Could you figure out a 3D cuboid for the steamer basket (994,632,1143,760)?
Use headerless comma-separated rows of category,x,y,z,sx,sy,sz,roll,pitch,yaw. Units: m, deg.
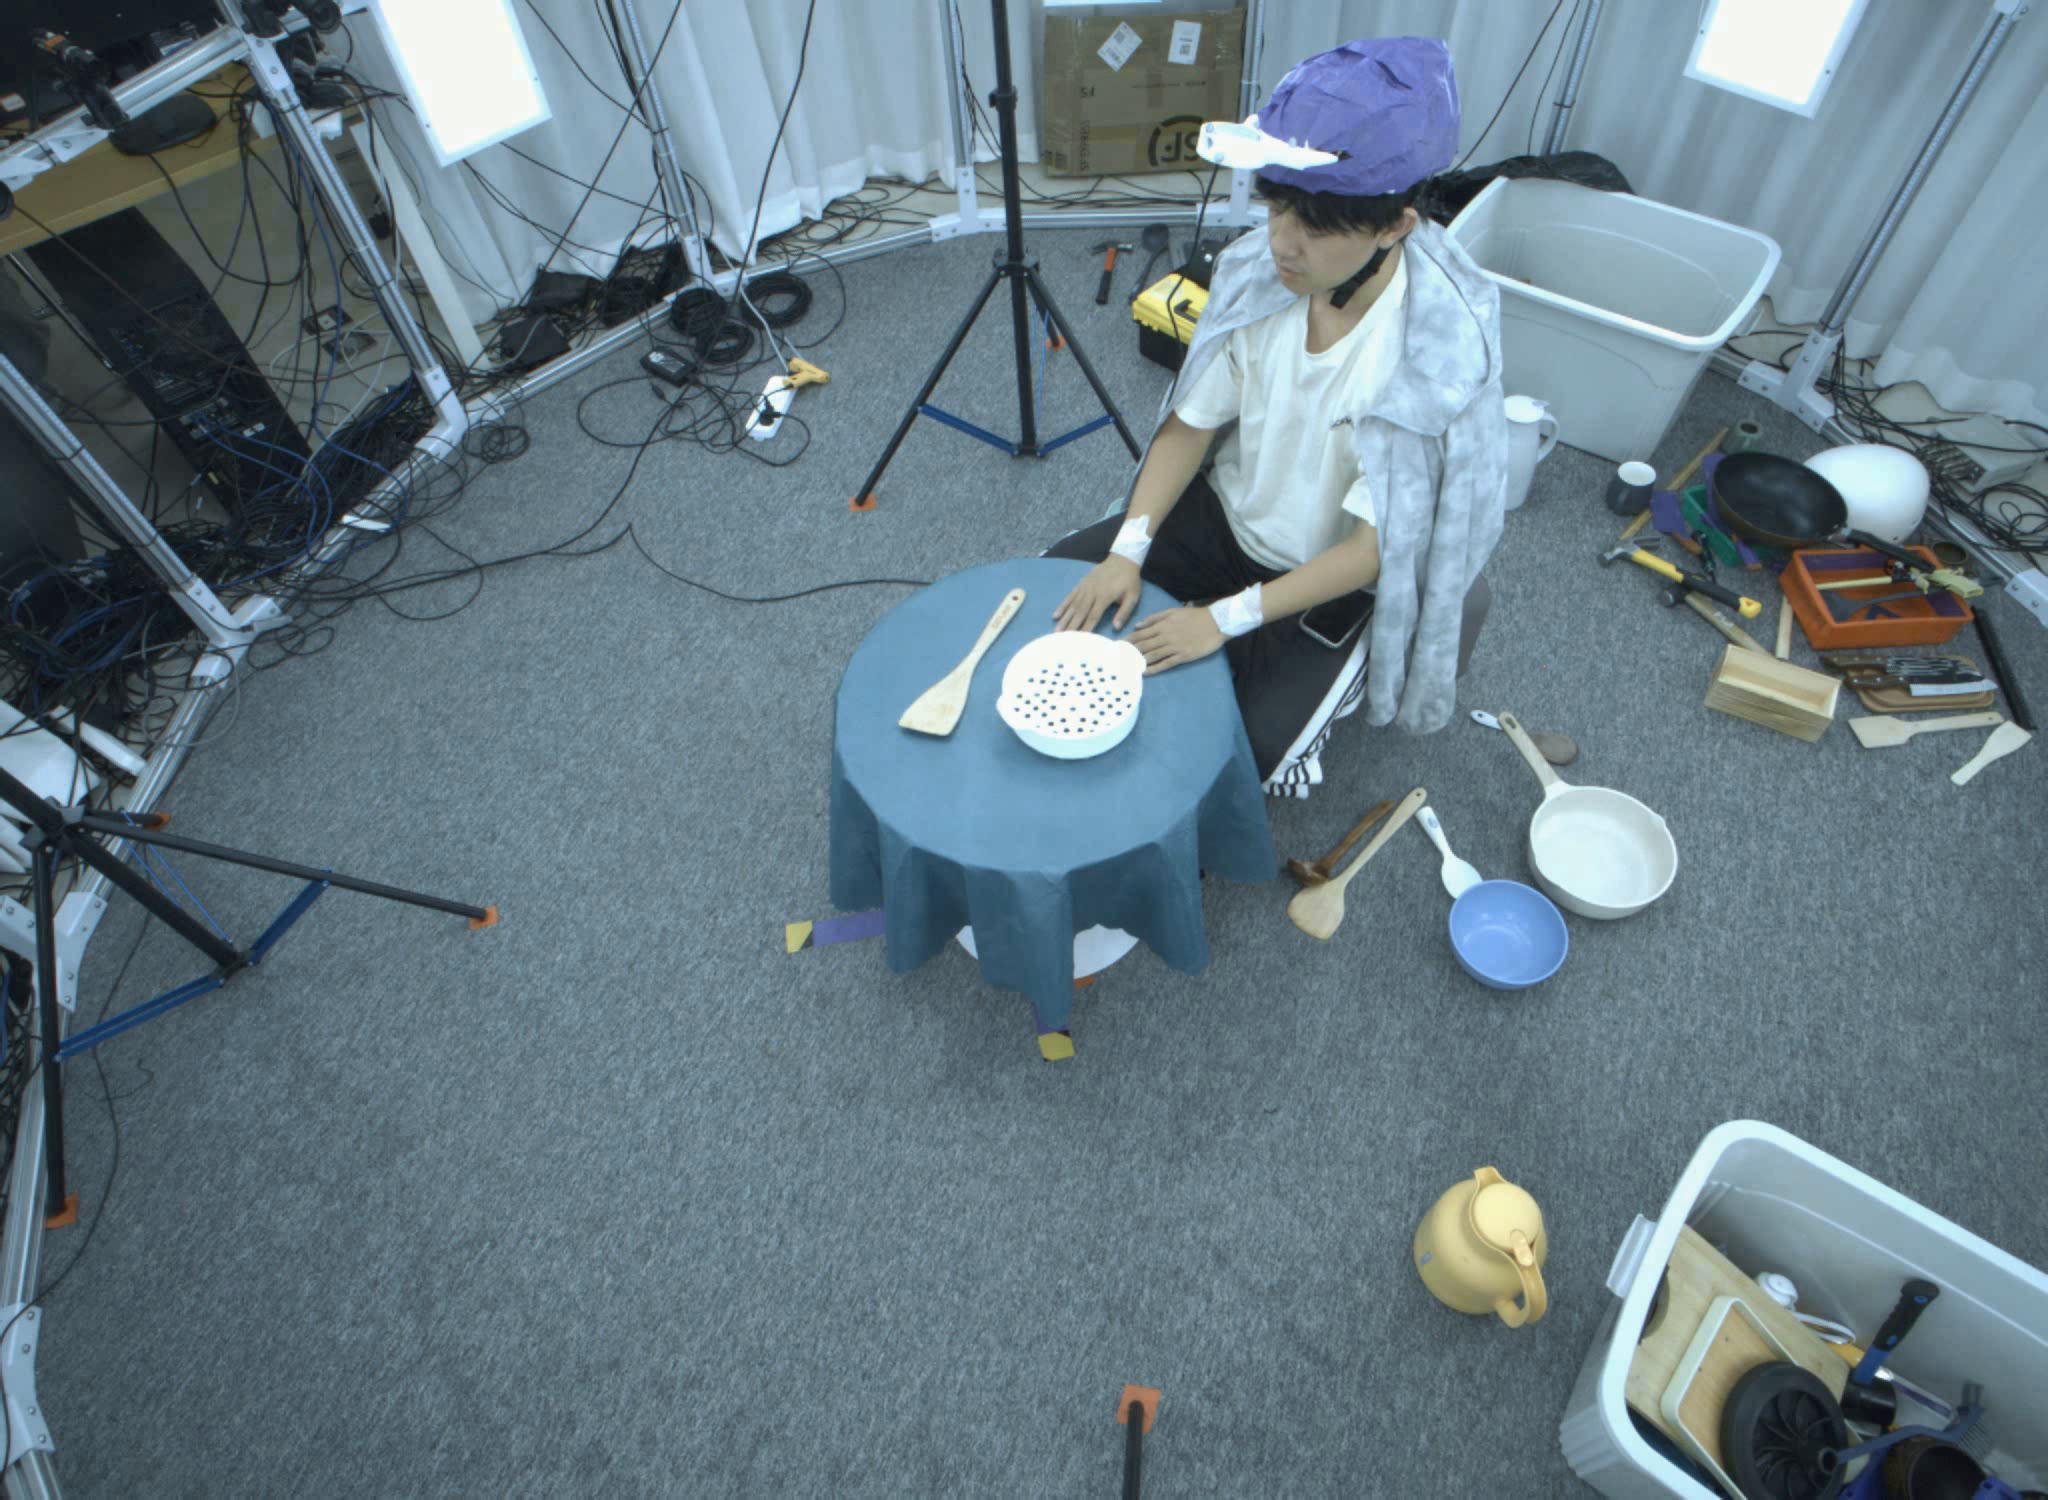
steamer basket,0.066,-0.077,1.802,0.232,0.070,0.198,-26,59,-16

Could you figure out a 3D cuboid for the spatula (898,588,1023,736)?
spatula,-0.081,-0.140,1.881,0.079,0.017,0.328,22,58,16
